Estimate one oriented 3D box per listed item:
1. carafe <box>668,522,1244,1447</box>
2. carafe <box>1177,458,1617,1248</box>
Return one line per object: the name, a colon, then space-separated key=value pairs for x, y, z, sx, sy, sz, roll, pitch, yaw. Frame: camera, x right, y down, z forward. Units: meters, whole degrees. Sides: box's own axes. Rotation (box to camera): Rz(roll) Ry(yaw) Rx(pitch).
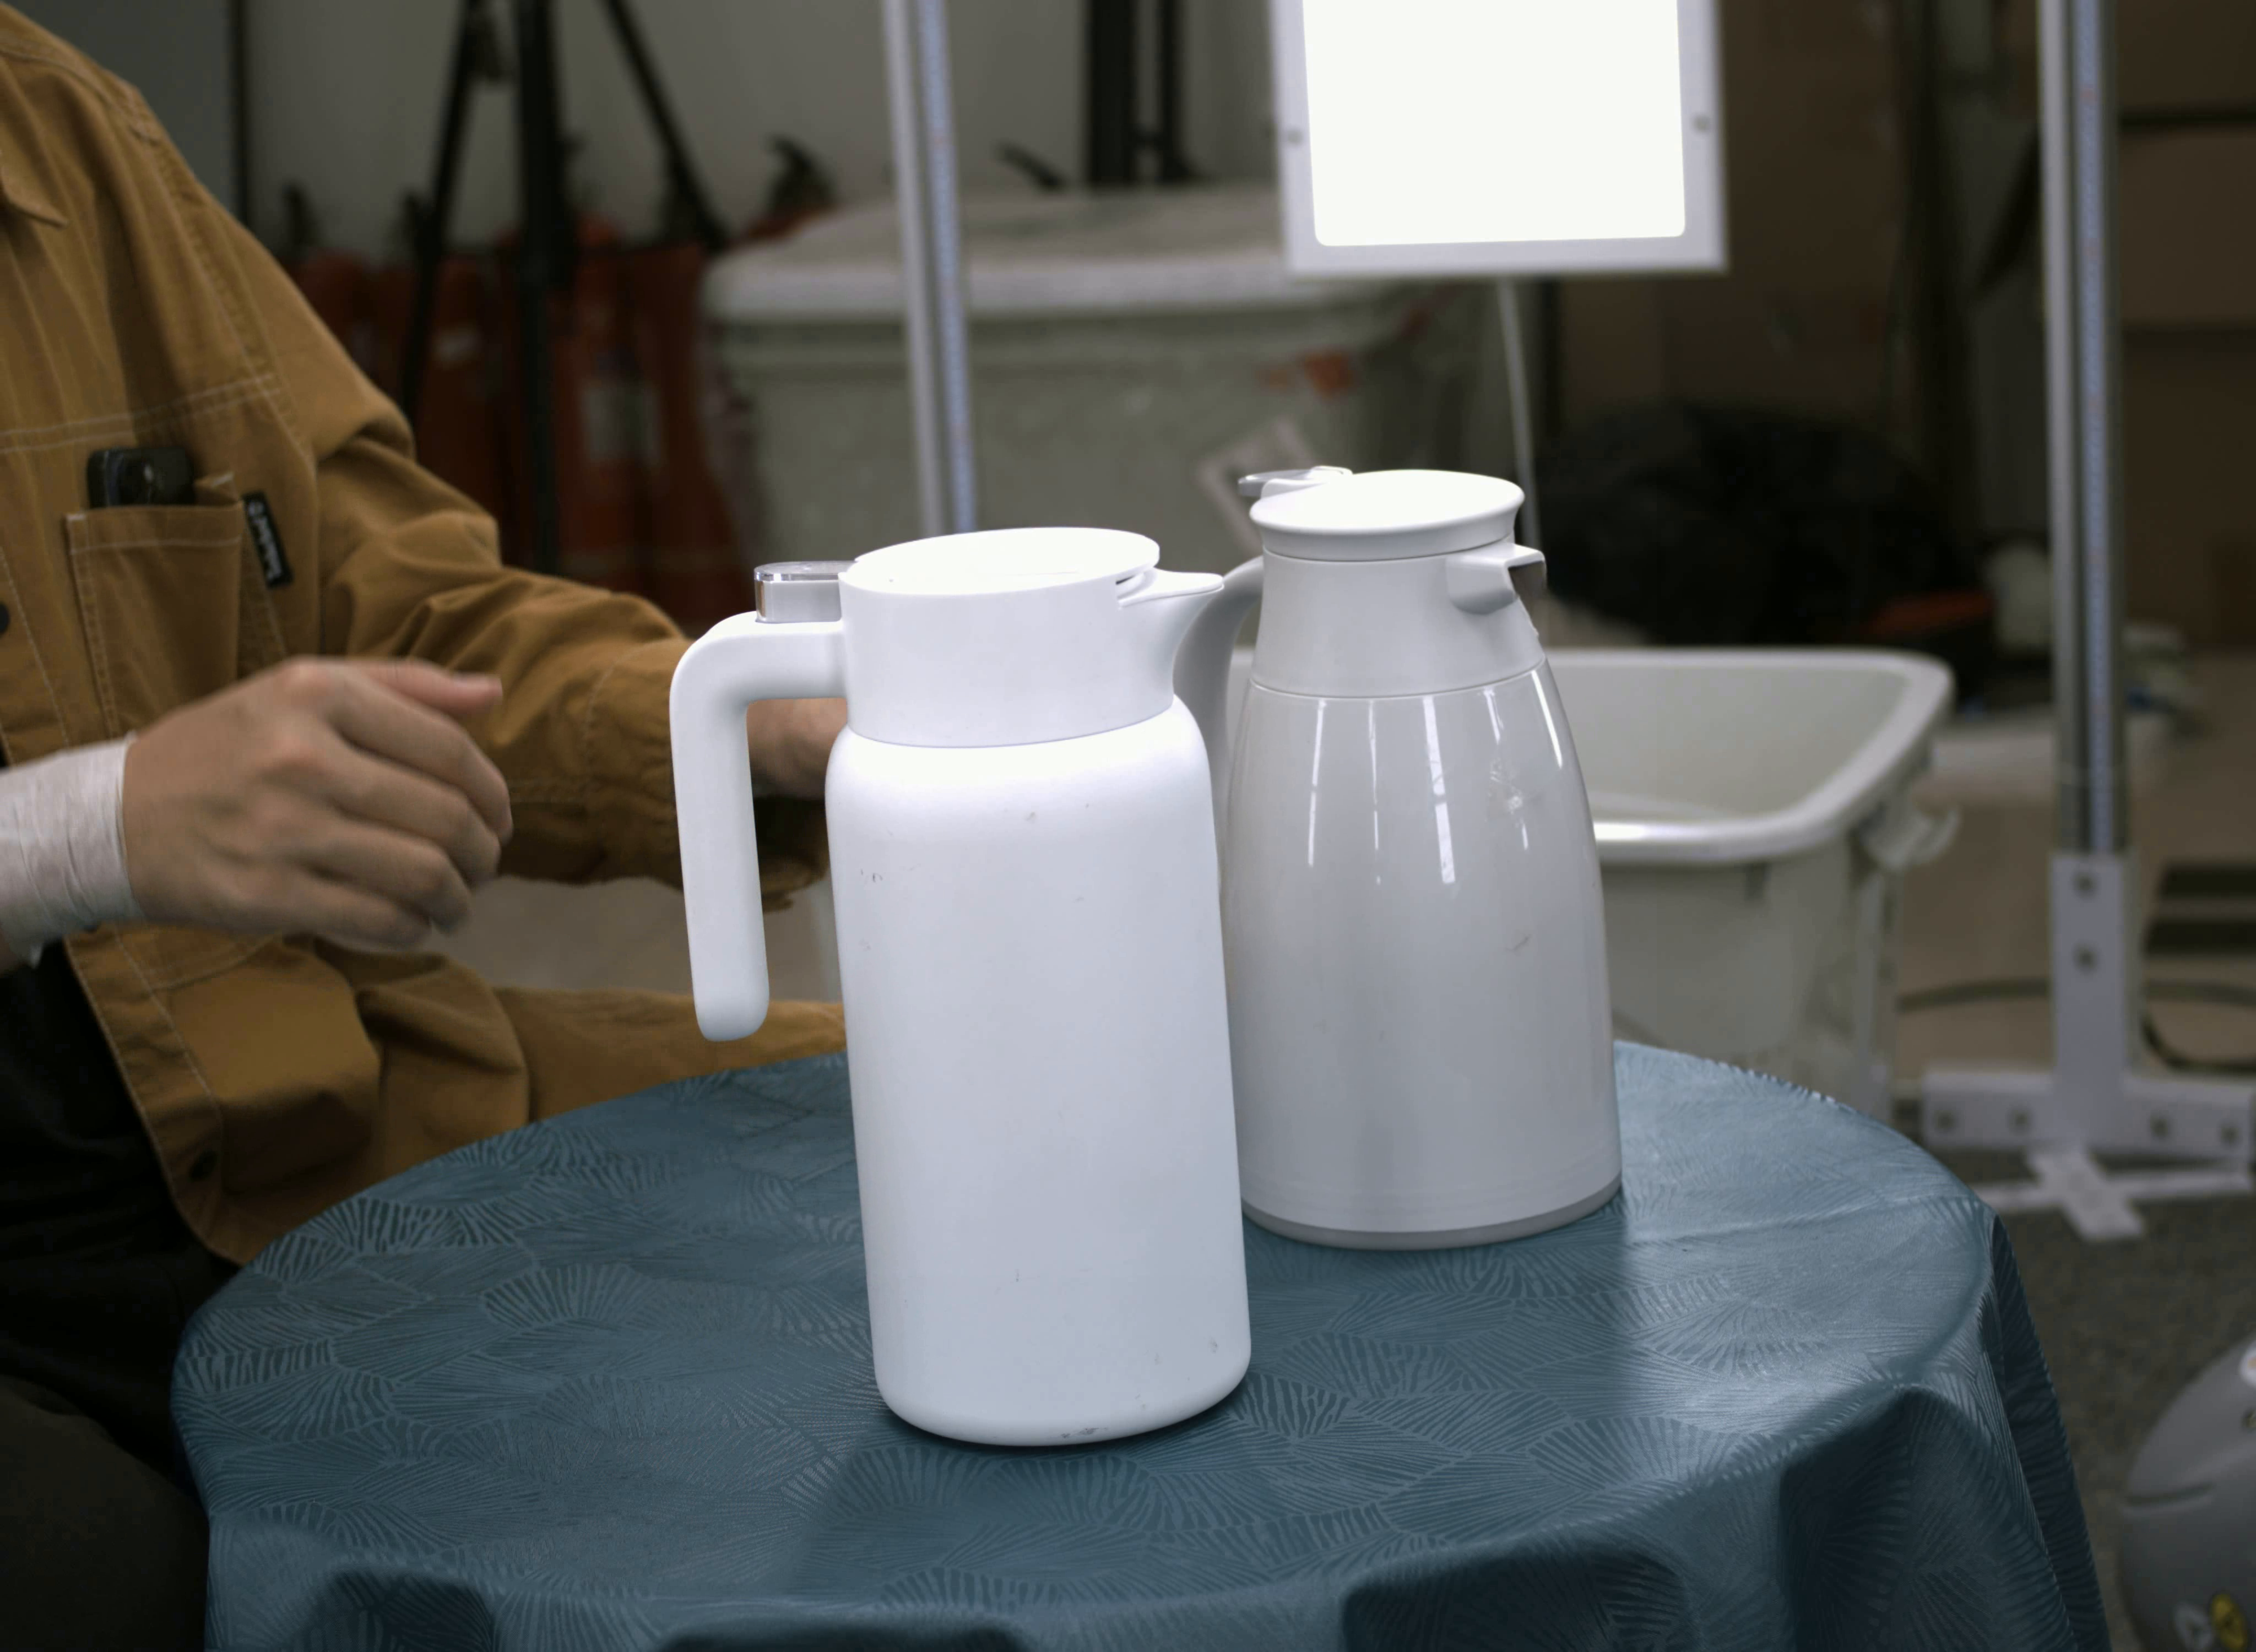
carafe: x=-0.047 y=0.047 z=1.677 sx=0.174 sy=0.270 sz=0.122 roll=-2 pitch=16 yaw=12
carafe: x=0.079 y=0.001 z=1.855 sx=0.129 sy=0.249 sz=0.171 roll=-17 pitch=18 yaw=-40
